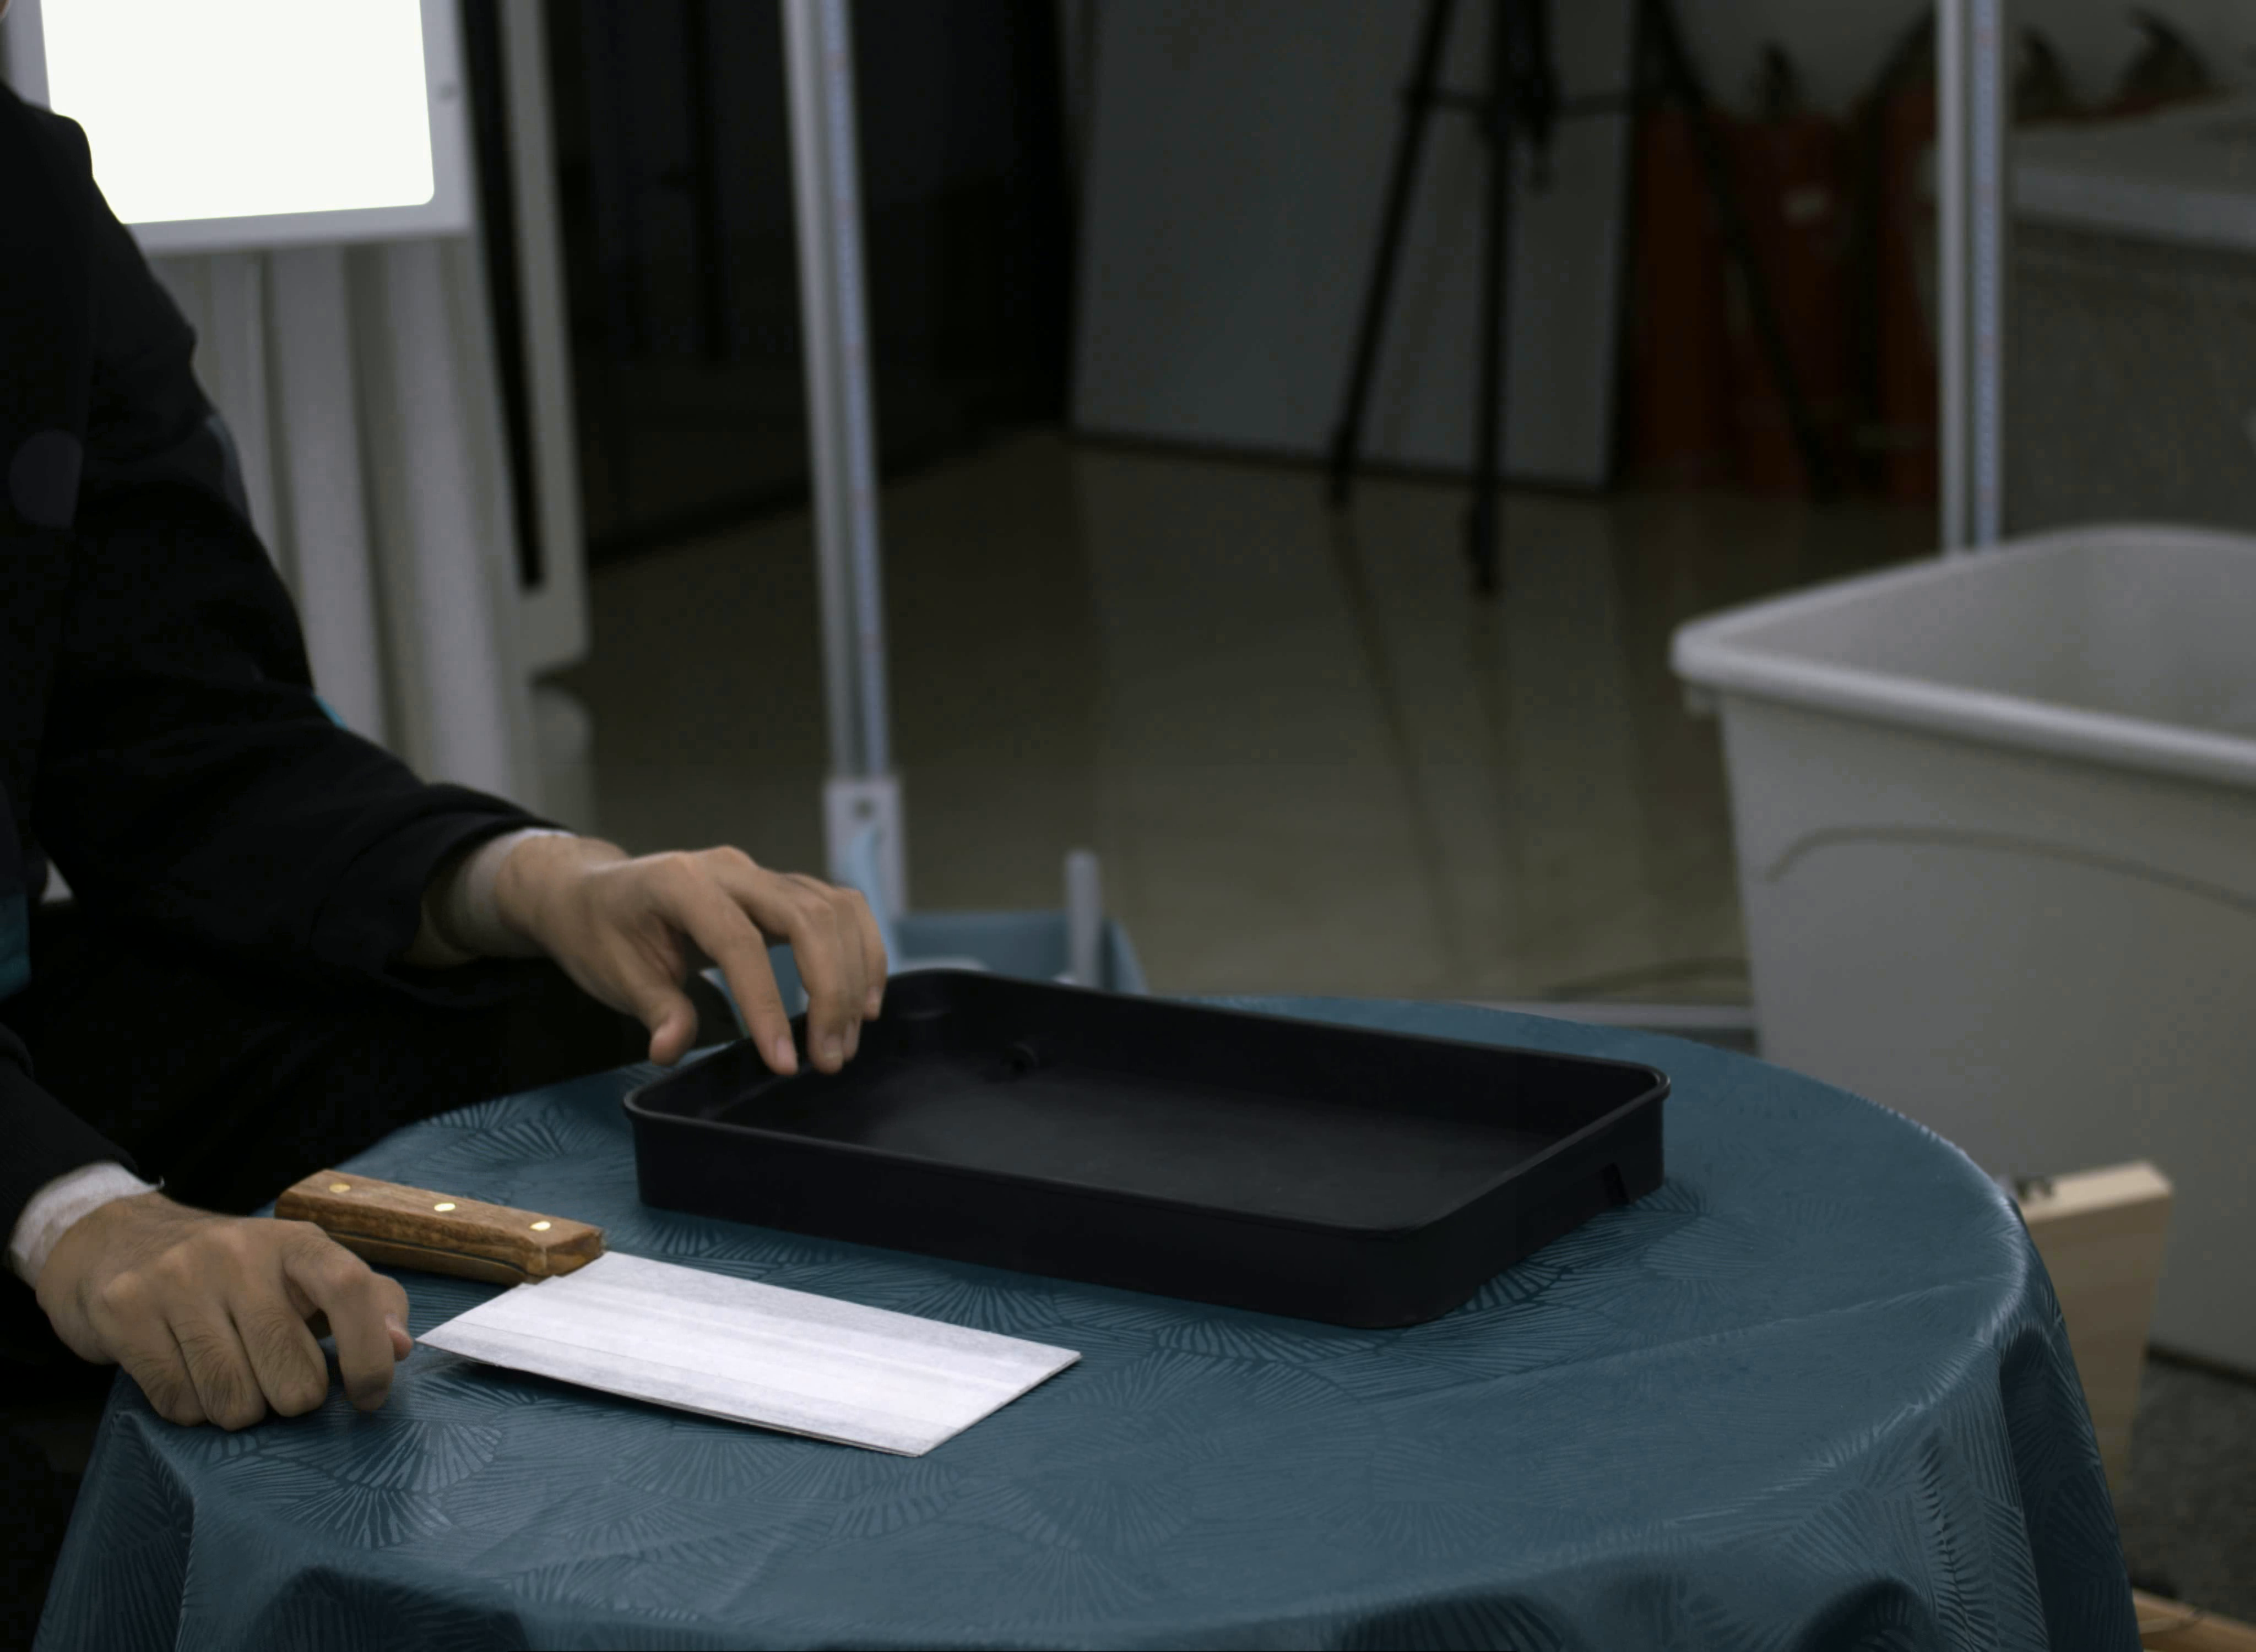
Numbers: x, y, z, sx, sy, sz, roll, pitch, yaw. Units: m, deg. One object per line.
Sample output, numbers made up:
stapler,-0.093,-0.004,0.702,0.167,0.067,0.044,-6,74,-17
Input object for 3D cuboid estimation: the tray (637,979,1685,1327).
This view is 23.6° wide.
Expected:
tray,0.010,0.103,1.765,0.319,0.037,0.181,5,17,33

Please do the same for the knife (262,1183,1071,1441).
knife,-0.162,0.152,1.664,0.307,0.021,0.091,8,20,34
